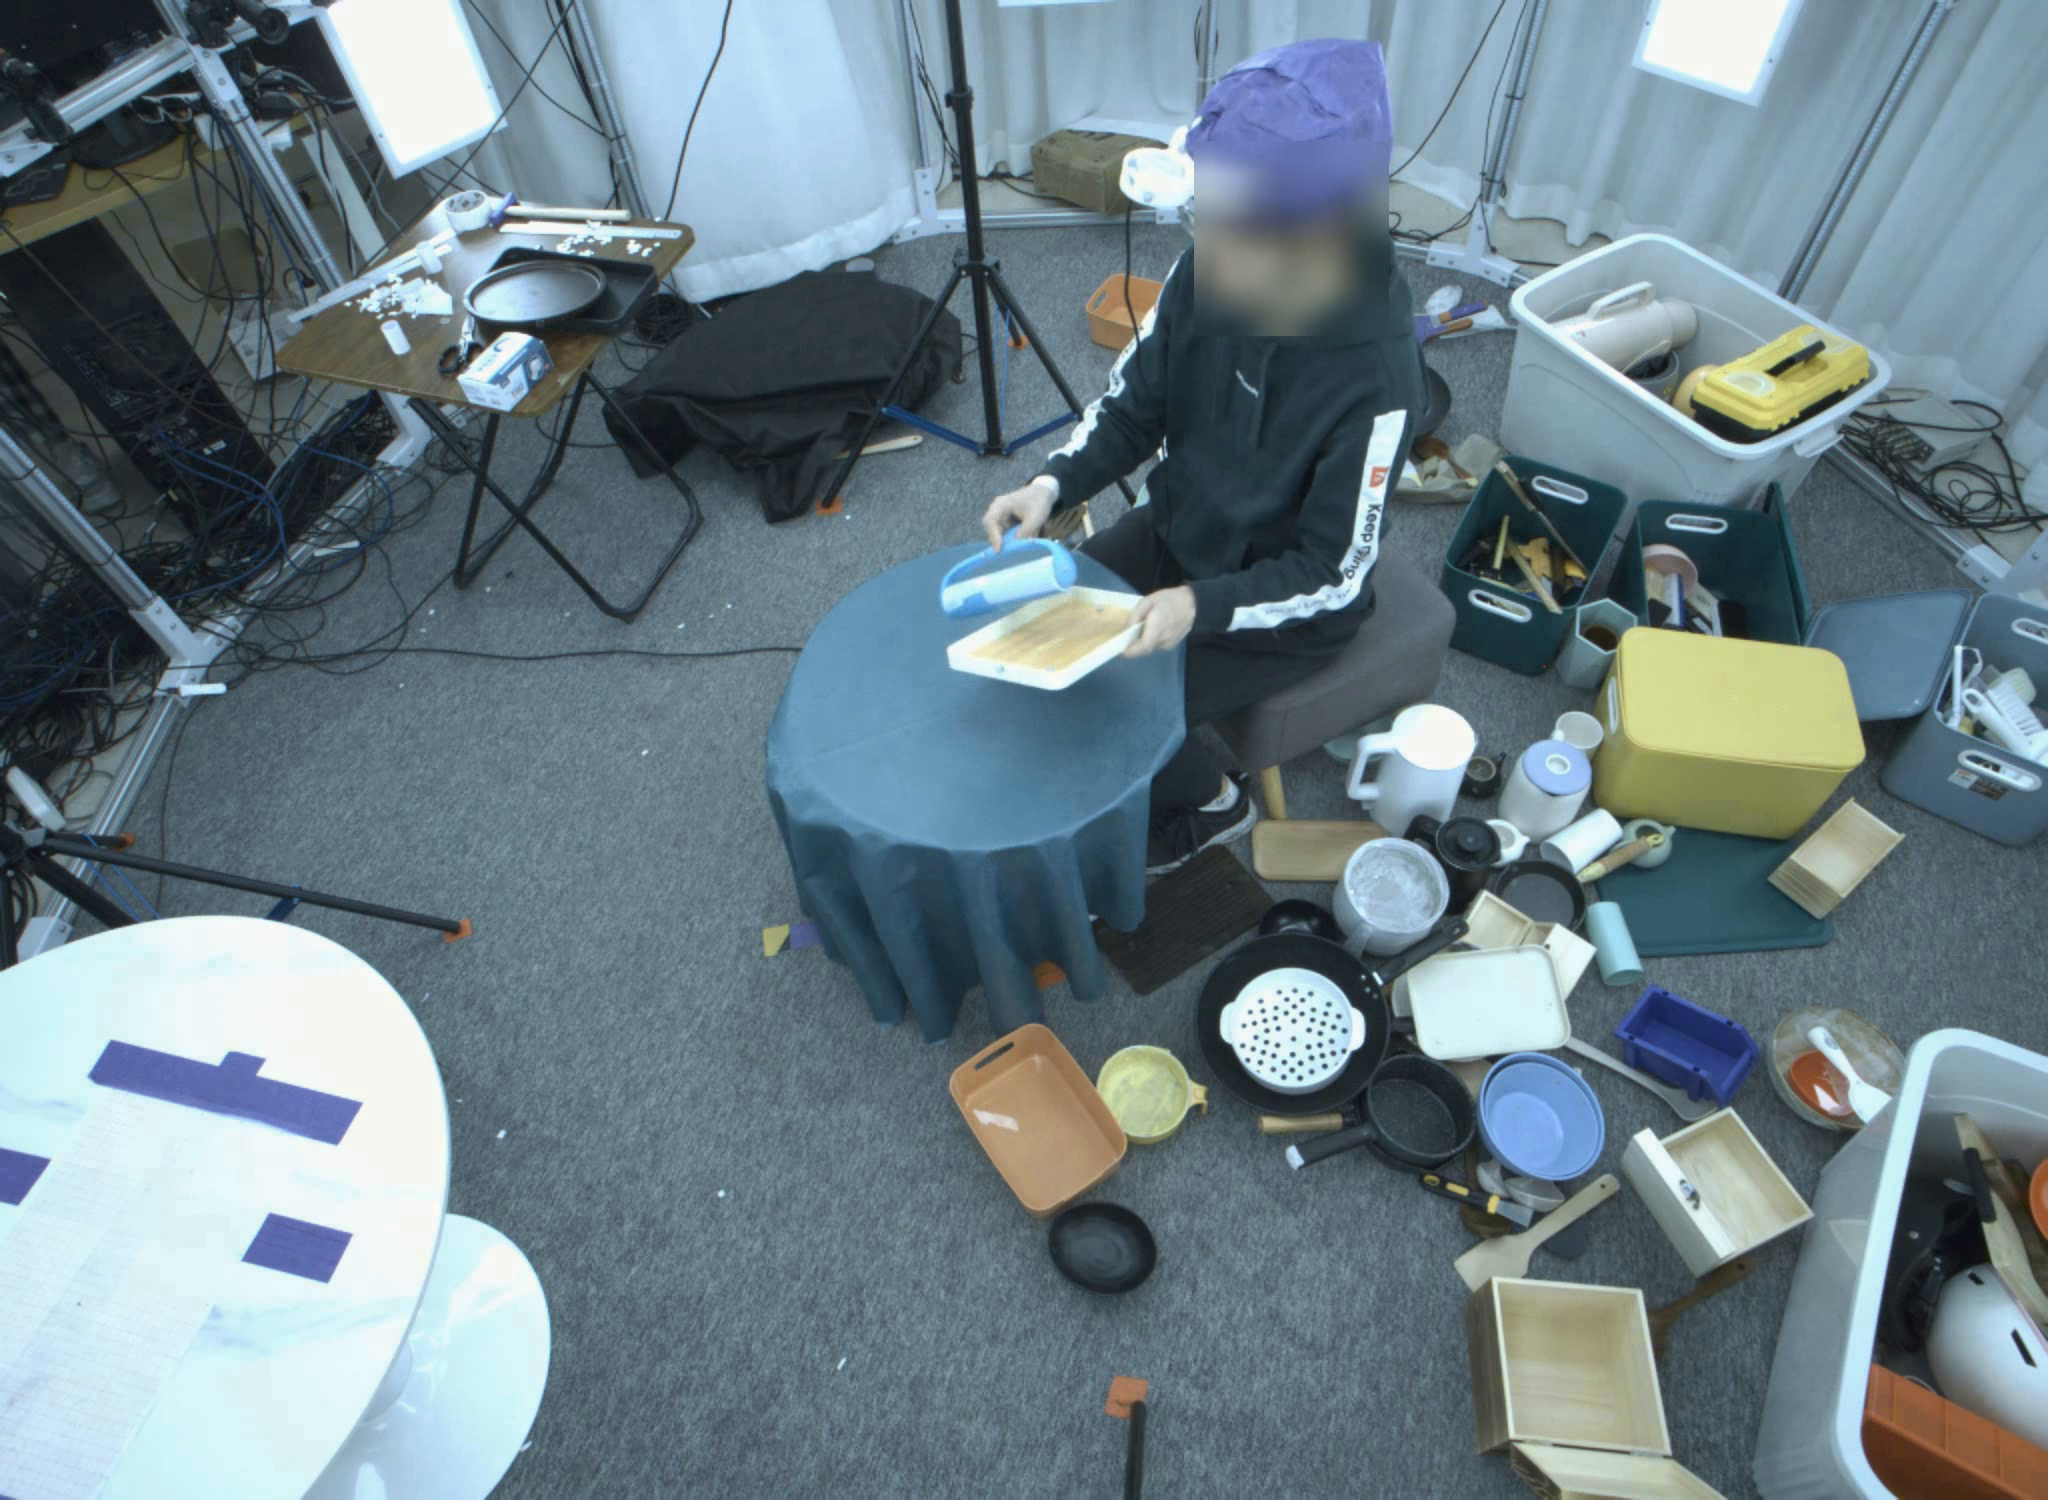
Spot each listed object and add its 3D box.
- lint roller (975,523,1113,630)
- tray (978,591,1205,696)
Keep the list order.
[{"bbox_3d":[0.033,-0.266,1.737,0.225,0.069,0.179,-15,51,35],"label":"lint roller"},{"bbox_3d":[0.097,-0.152,1.687,0.187,0.027,0.304,16,32,34],"label":"tray"}]
